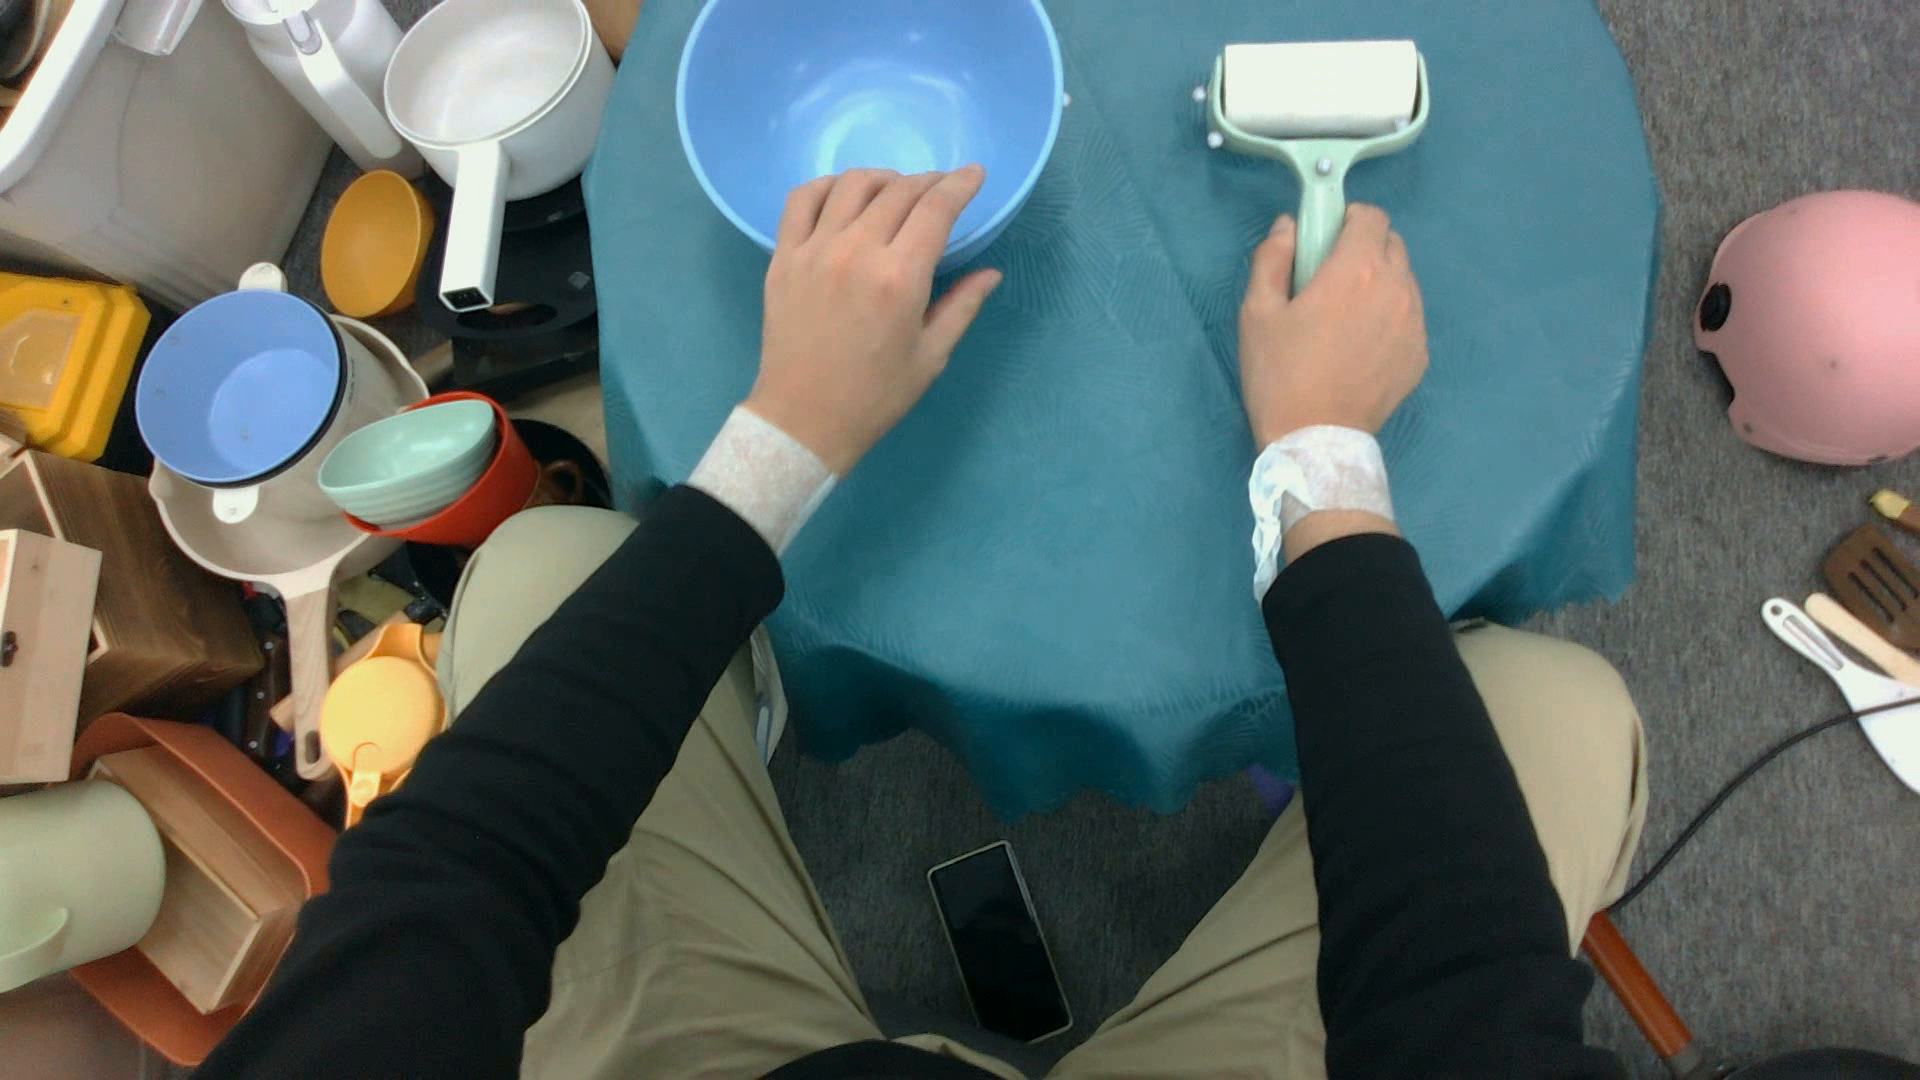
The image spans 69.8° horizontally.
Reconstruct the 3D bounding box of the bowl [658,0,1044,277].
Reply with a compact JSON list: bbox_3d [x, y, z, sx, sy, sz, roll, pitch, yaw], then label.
[{"bbox_3d":[-0.055,-0.223,0.742,0.196,0.095,0.197,0,77,0],"label":"bowl"}]

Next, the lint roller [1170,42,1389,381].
[{"bbox_3d":[0.173,-0.182,0.743,0.116,0.048,0.198,2,71,2],"label":"lint roller"}]
